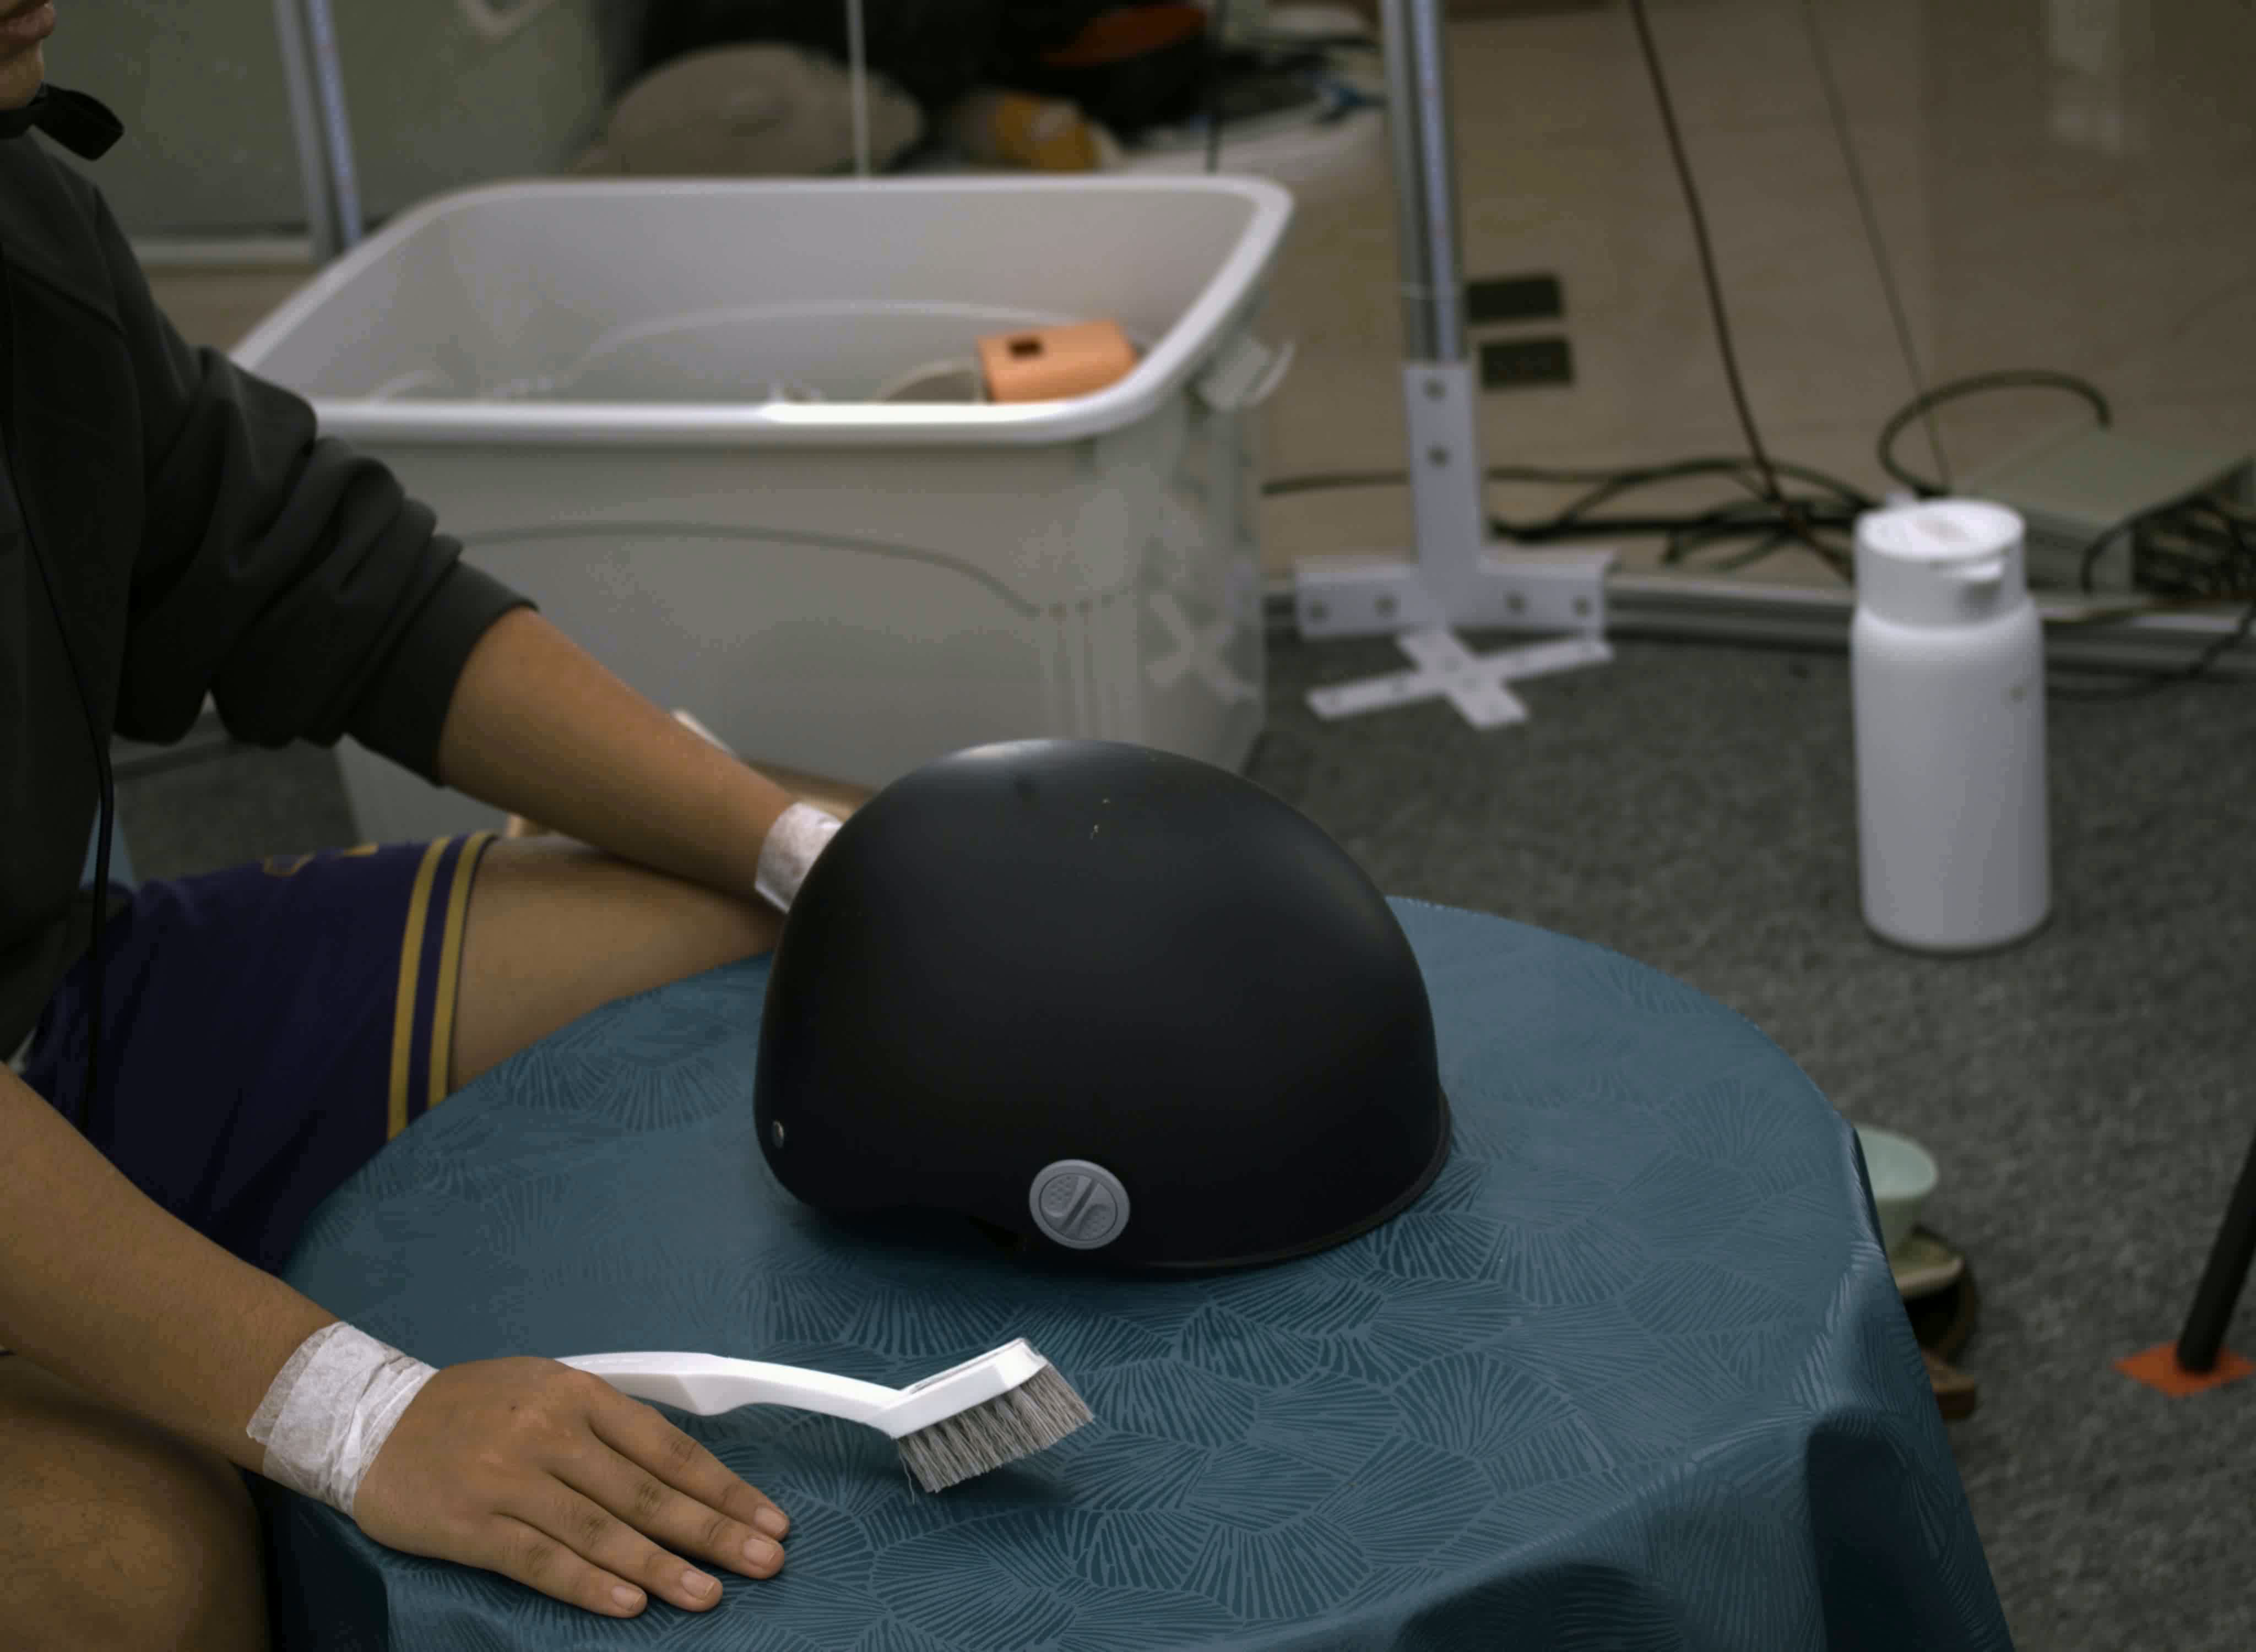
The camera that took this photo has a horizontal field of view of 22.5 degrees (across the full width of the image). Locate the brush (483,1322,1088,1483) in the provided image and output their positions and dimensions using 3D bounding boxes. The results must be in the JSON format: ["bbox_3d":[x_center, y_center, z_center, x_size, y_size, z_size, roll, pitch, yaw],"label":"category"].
[{"bbox_3d":[-0.124,0.208,1.999,0.243,0.050,0.034,-7,13,31],"label":"brush"}]

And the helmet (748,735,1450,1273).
[{"bbox_3d":[-0.016,0.054,2.144,0.272,0.169,0.227,8,32,25],"label":"helmet"}]
